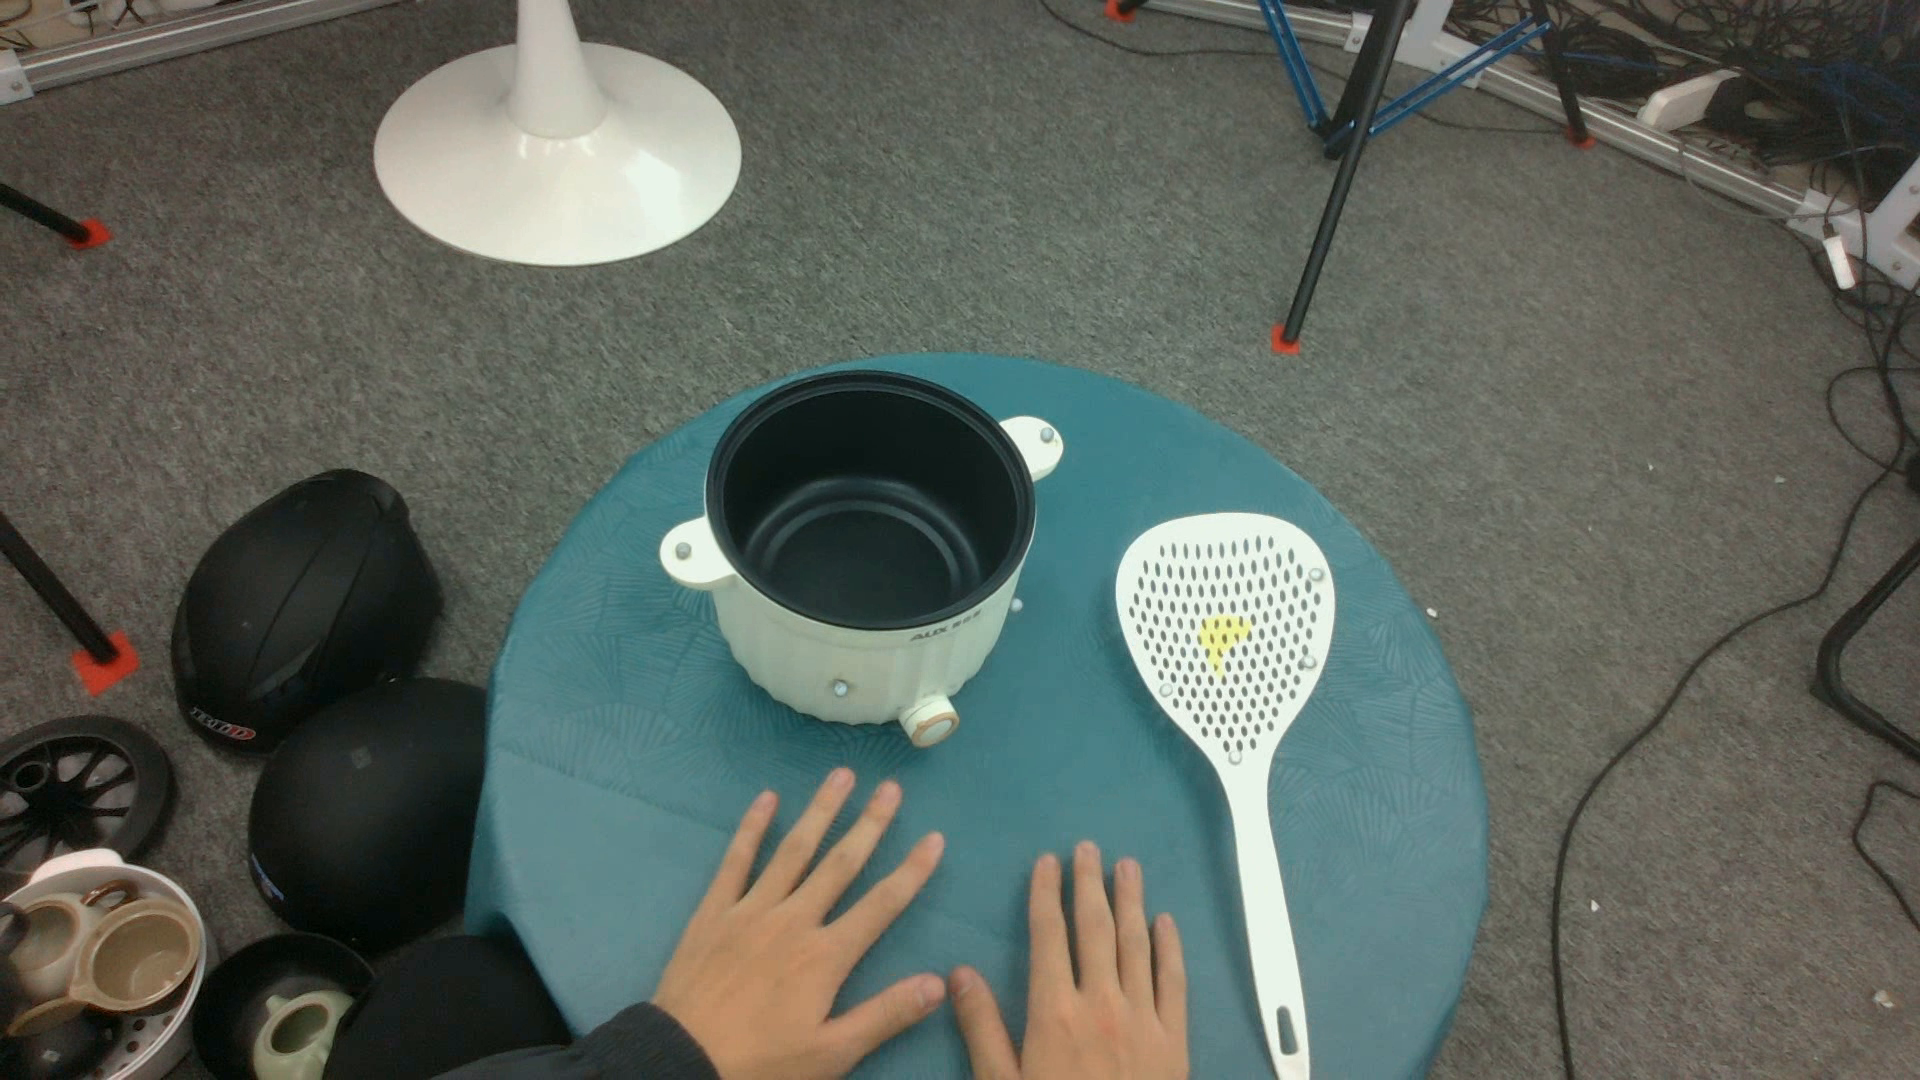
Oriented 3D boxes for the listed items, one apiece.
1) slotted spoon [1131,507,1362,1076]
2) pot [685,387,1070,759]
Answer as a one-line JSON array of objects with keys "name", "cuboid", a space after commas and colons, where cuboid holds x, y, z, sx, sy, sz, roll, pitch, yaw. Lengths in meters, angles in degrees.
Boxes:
[{"name": "slotted spoon", "cuboid": [0.185, 0.131, 0.815, 0.137, 0.050, 0.349, -8, 52, 6]}, {"name": "pot", "cuboid": [-0.041, 0.026, 0.814, 0.241, 0.142, 0.191, -24, 55, -21]}]
